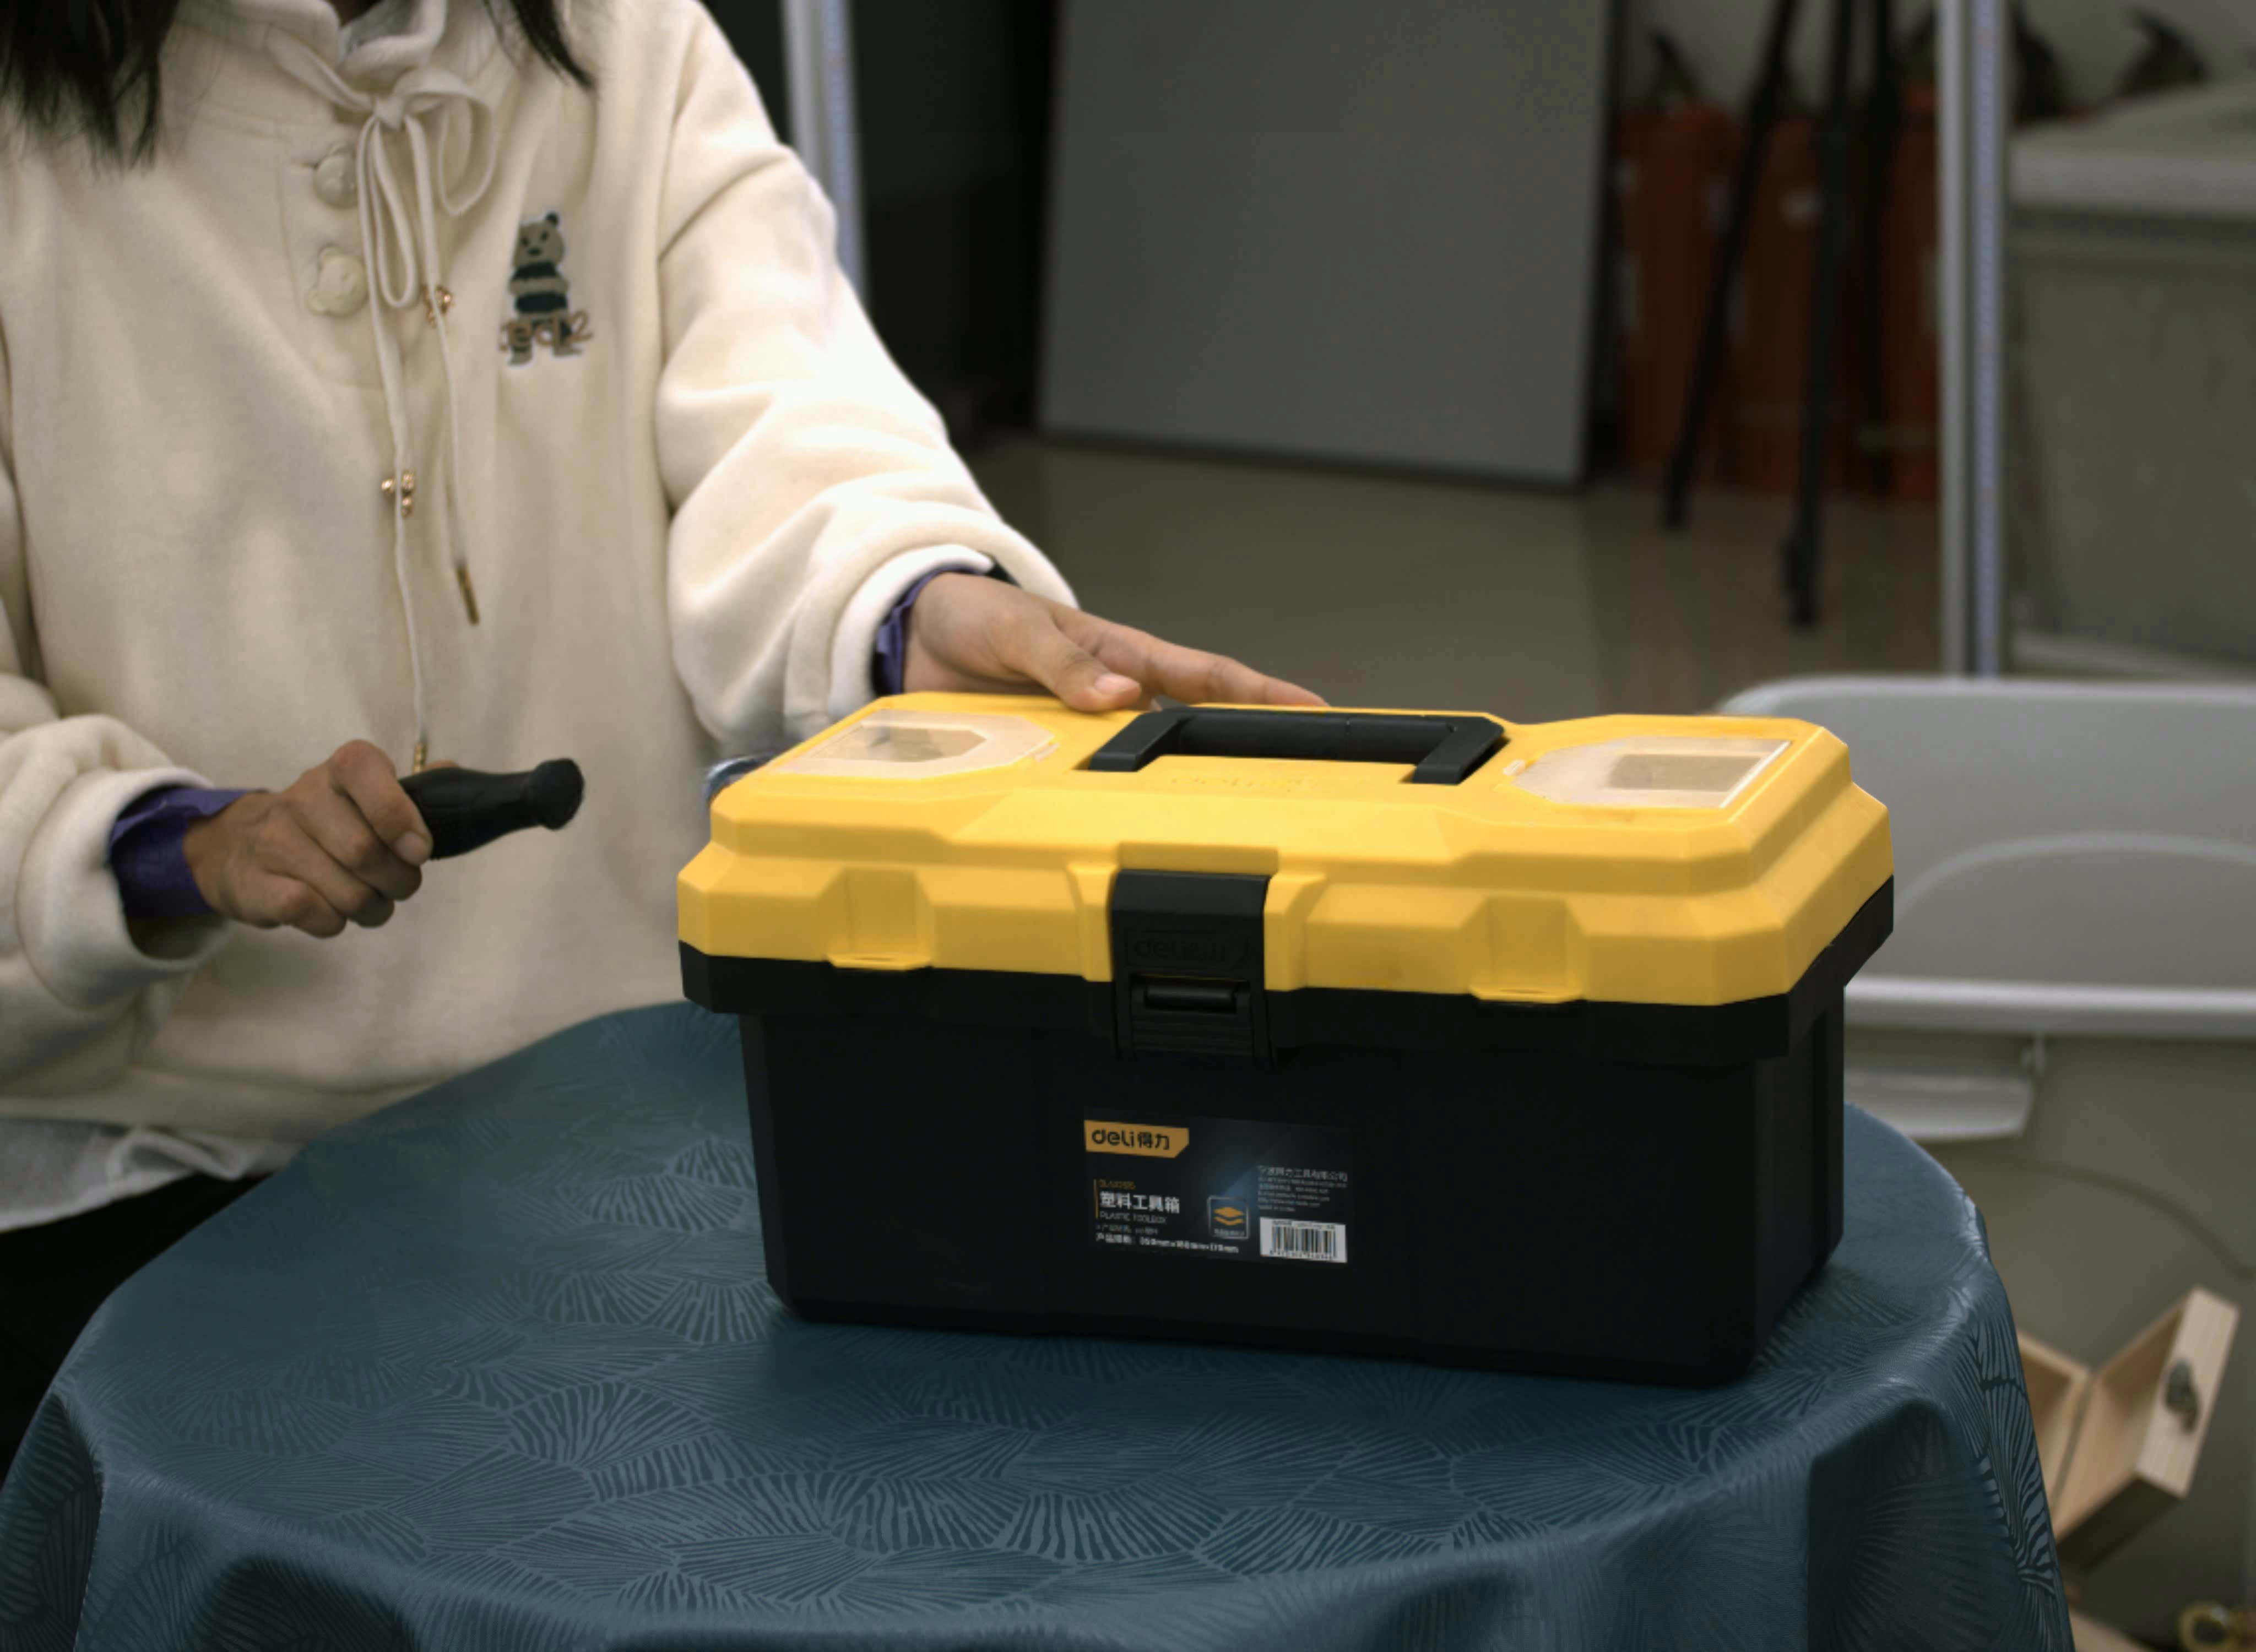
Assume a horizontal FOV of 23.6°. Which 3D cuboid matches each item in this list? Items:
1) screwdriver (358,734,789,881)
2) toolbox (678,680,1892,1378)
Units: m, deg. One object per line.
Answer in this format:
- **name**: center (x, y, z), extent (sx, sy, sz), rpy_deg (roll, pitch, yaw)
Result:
- **screwdriver**: center (-0.180, -0.006, 1.771), extent (0.199, 0.032, 0.031), rpy_deg (-9, 7, 40)
- **toolbox**: center (0.049, 0.058, 1.644), extent (0.351, 0.175, 0.179), rpy_deg (2, 14, 23)
